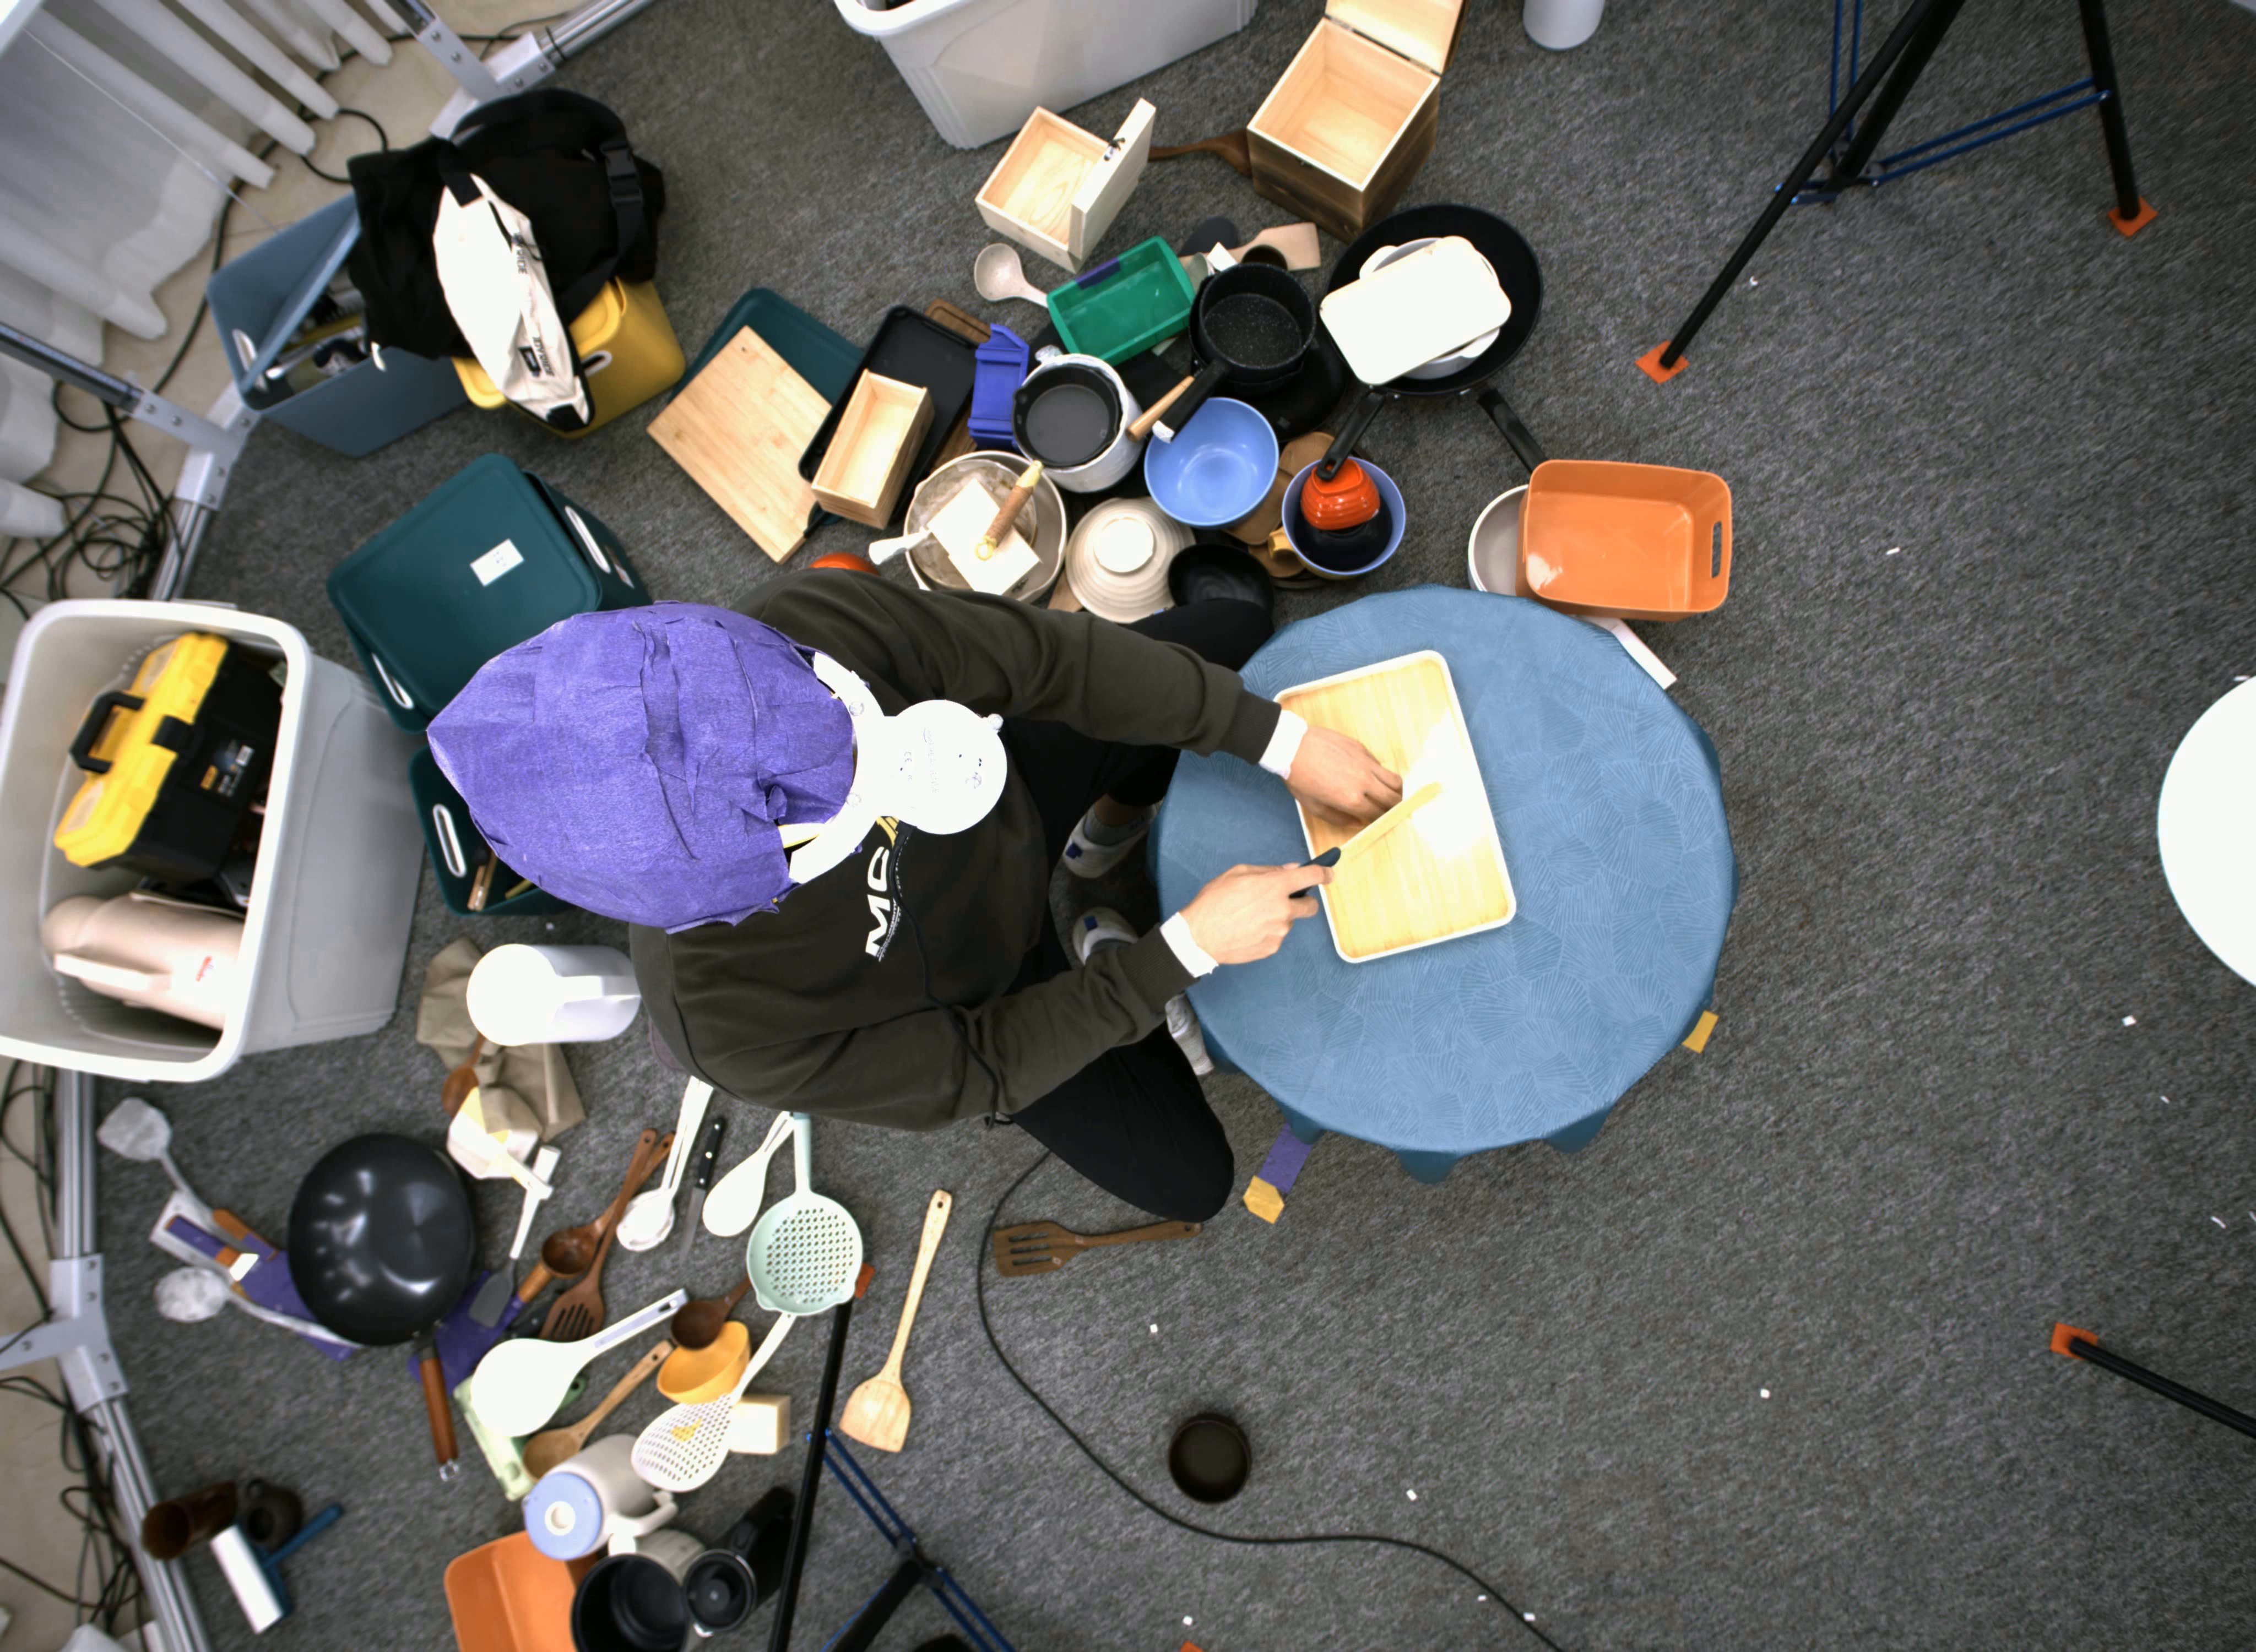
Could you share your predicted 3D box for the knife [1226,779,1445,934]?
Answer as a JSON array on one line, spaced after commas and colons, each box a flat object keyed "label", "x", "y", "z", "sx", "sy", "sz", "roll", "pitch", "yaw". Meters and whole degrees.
[{"label": "knife", "x": 0.213, "y": 0.028, "z": 1.389, "sx": 0.286, "sy": 0.083, "sz": 0.027, "roll": -32, "pitch": 70, "yaw": -16}]

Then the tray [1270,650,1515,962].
[{"label": "tray", "x": 0.276, "y": -0.022, "z": 1.451, "sx": 0.193, "sy": 0.027, "sz": 0.298, "roll": -15, "pitch": 84, "yaw": 11}]
